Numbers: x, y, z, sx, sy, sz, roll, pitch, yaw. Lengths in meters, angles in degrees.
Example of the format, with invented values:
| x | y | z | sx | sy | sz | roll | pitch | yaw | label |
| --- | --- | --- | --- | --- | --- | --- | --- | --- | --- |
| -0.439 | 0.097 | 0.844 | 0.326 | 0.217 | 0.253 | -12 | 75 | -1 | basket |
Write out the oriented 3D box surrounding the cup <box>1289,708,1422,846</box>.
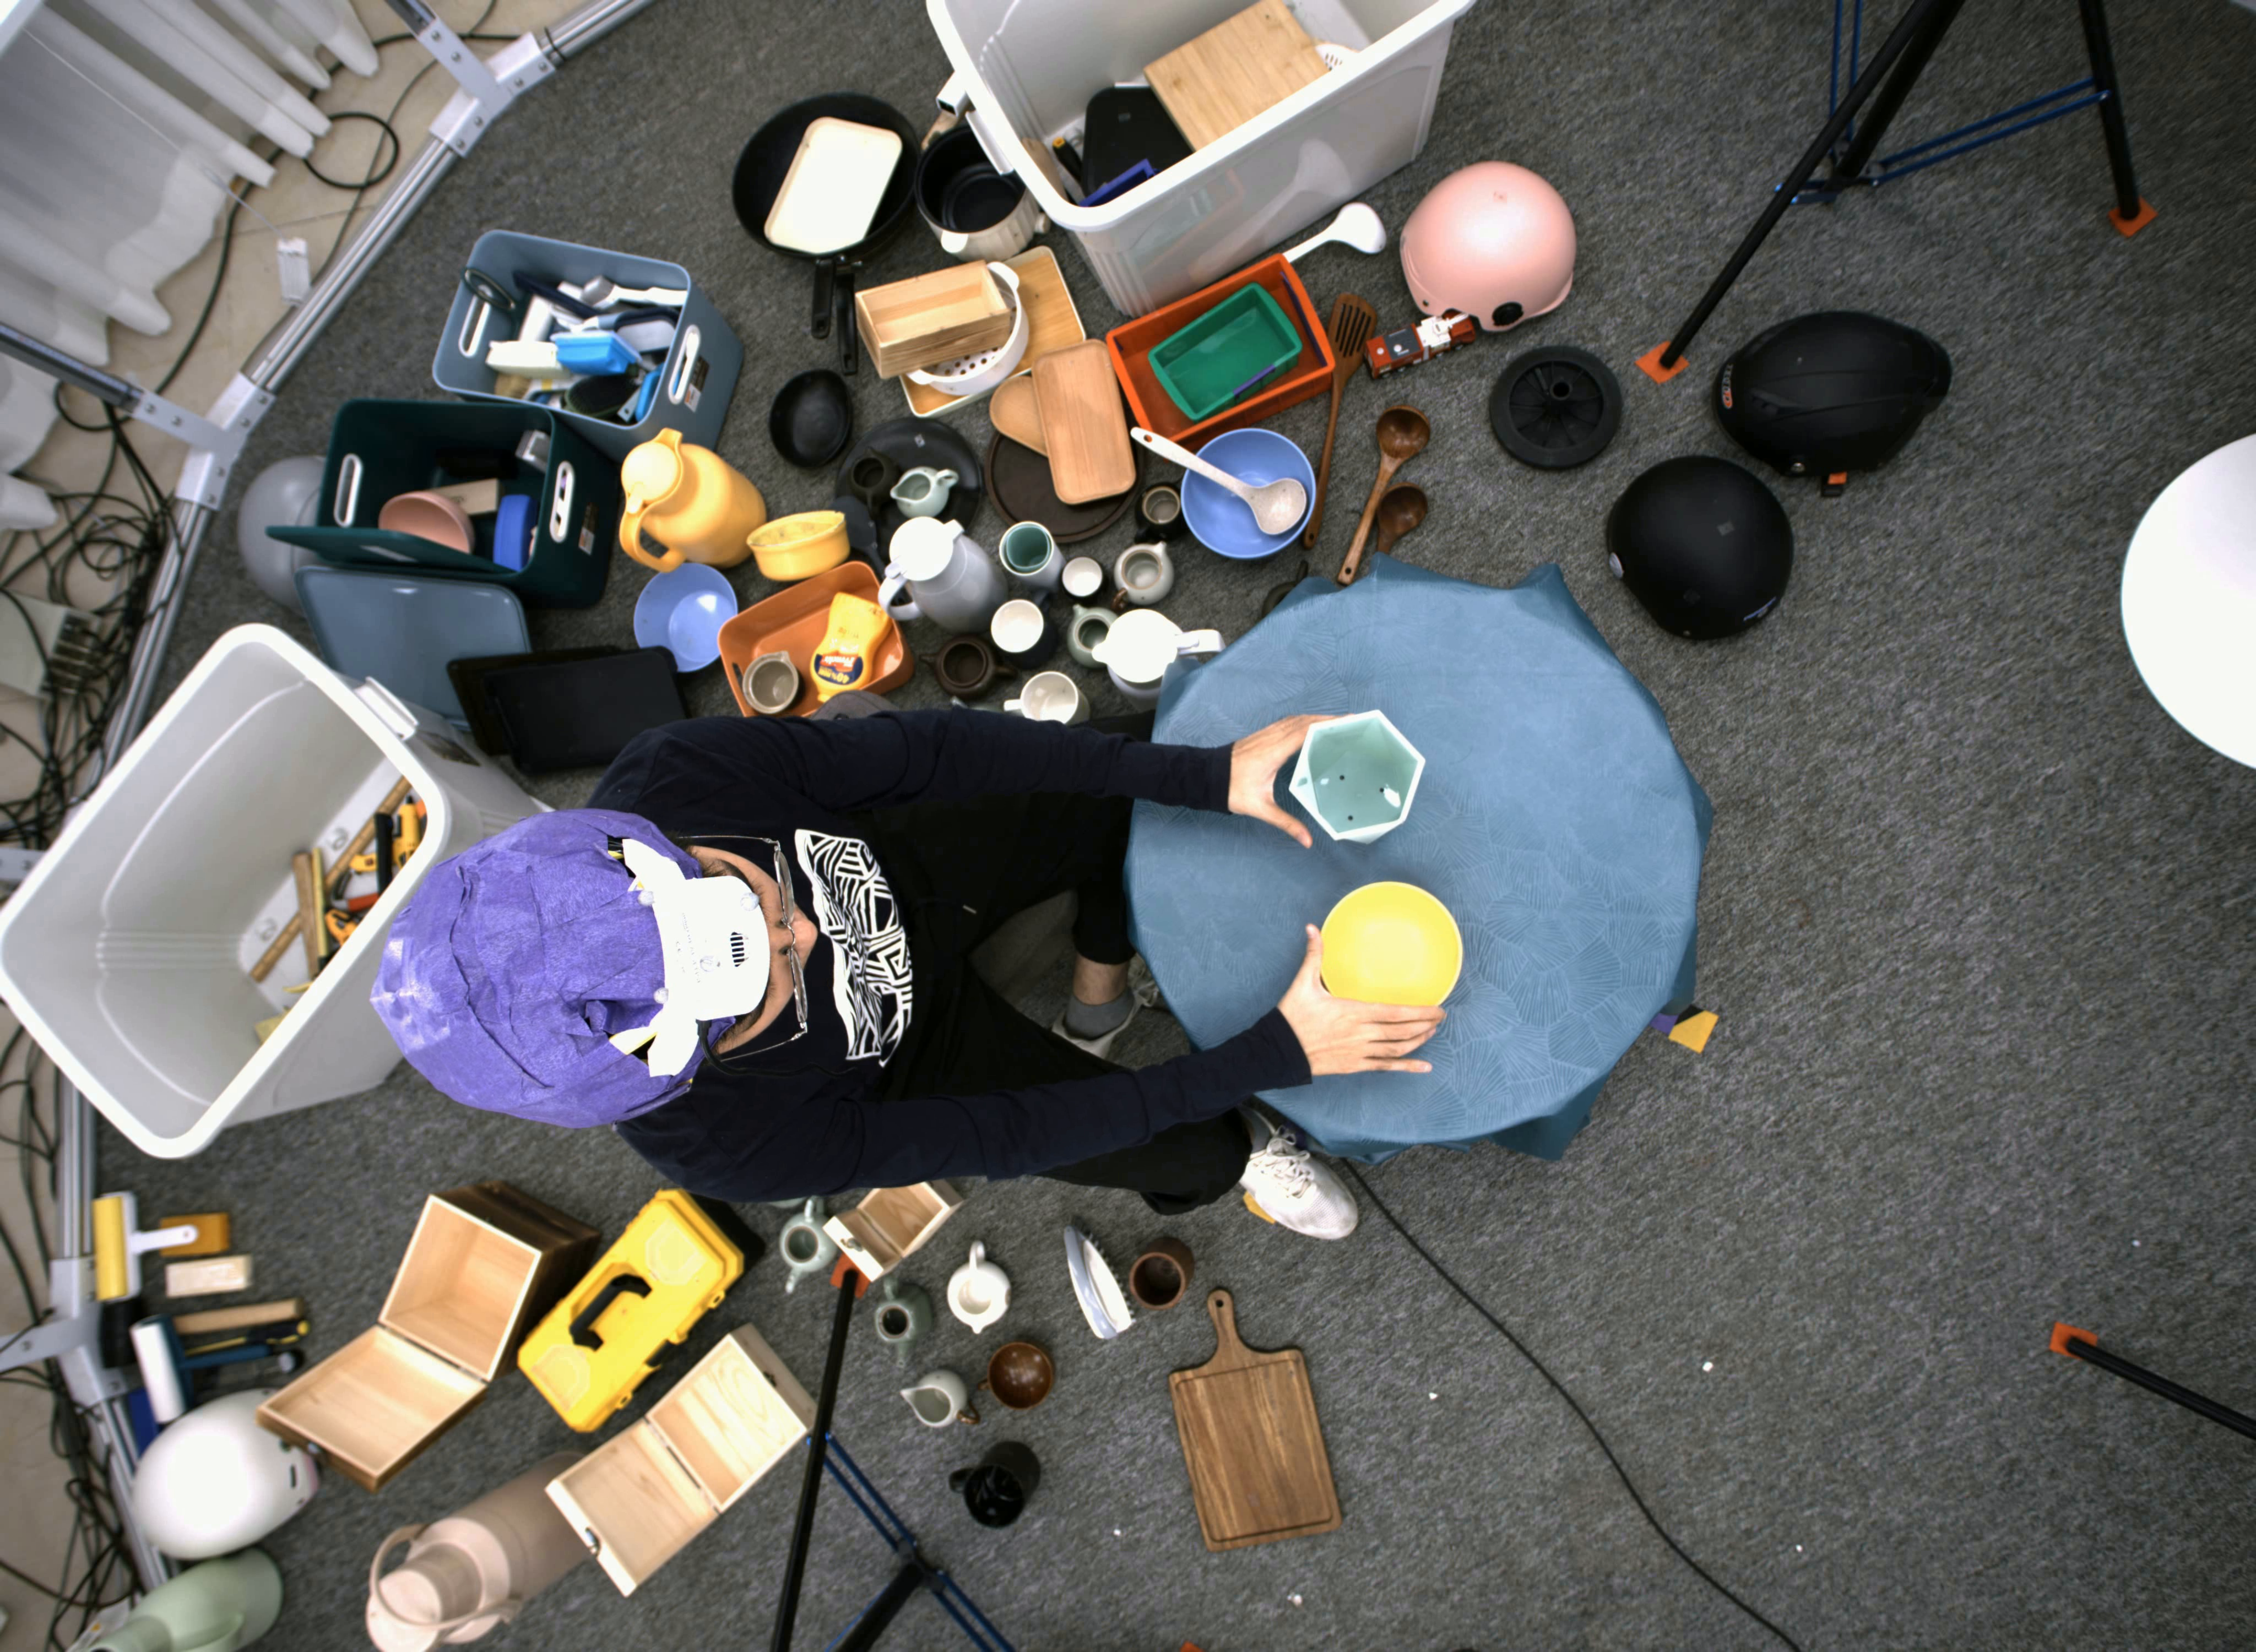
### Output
| x | y | z | sx | sy | sz | roll | pitch | yaw | label |
| --- | --- | --- | --- | --- | --- | --- | --- | --- | --- |
| 0.232 | -0.042 | 1.389 | 0.115 | 0.163 | 0.130 | 15 | 87 | 13 | cup |

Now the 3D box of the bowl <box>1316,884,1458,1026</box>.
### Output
| x | y | z | sx | sy | sz | roll | pitch | yaw | label |
| --- | --- | --- | --- | --- | --- | --- | --- | --- | --- |
| 0.270 | 0.133 | 1.430 | 0.146 | 0.060 | 0.144 | -2 | 85 | 18 | bowl |
